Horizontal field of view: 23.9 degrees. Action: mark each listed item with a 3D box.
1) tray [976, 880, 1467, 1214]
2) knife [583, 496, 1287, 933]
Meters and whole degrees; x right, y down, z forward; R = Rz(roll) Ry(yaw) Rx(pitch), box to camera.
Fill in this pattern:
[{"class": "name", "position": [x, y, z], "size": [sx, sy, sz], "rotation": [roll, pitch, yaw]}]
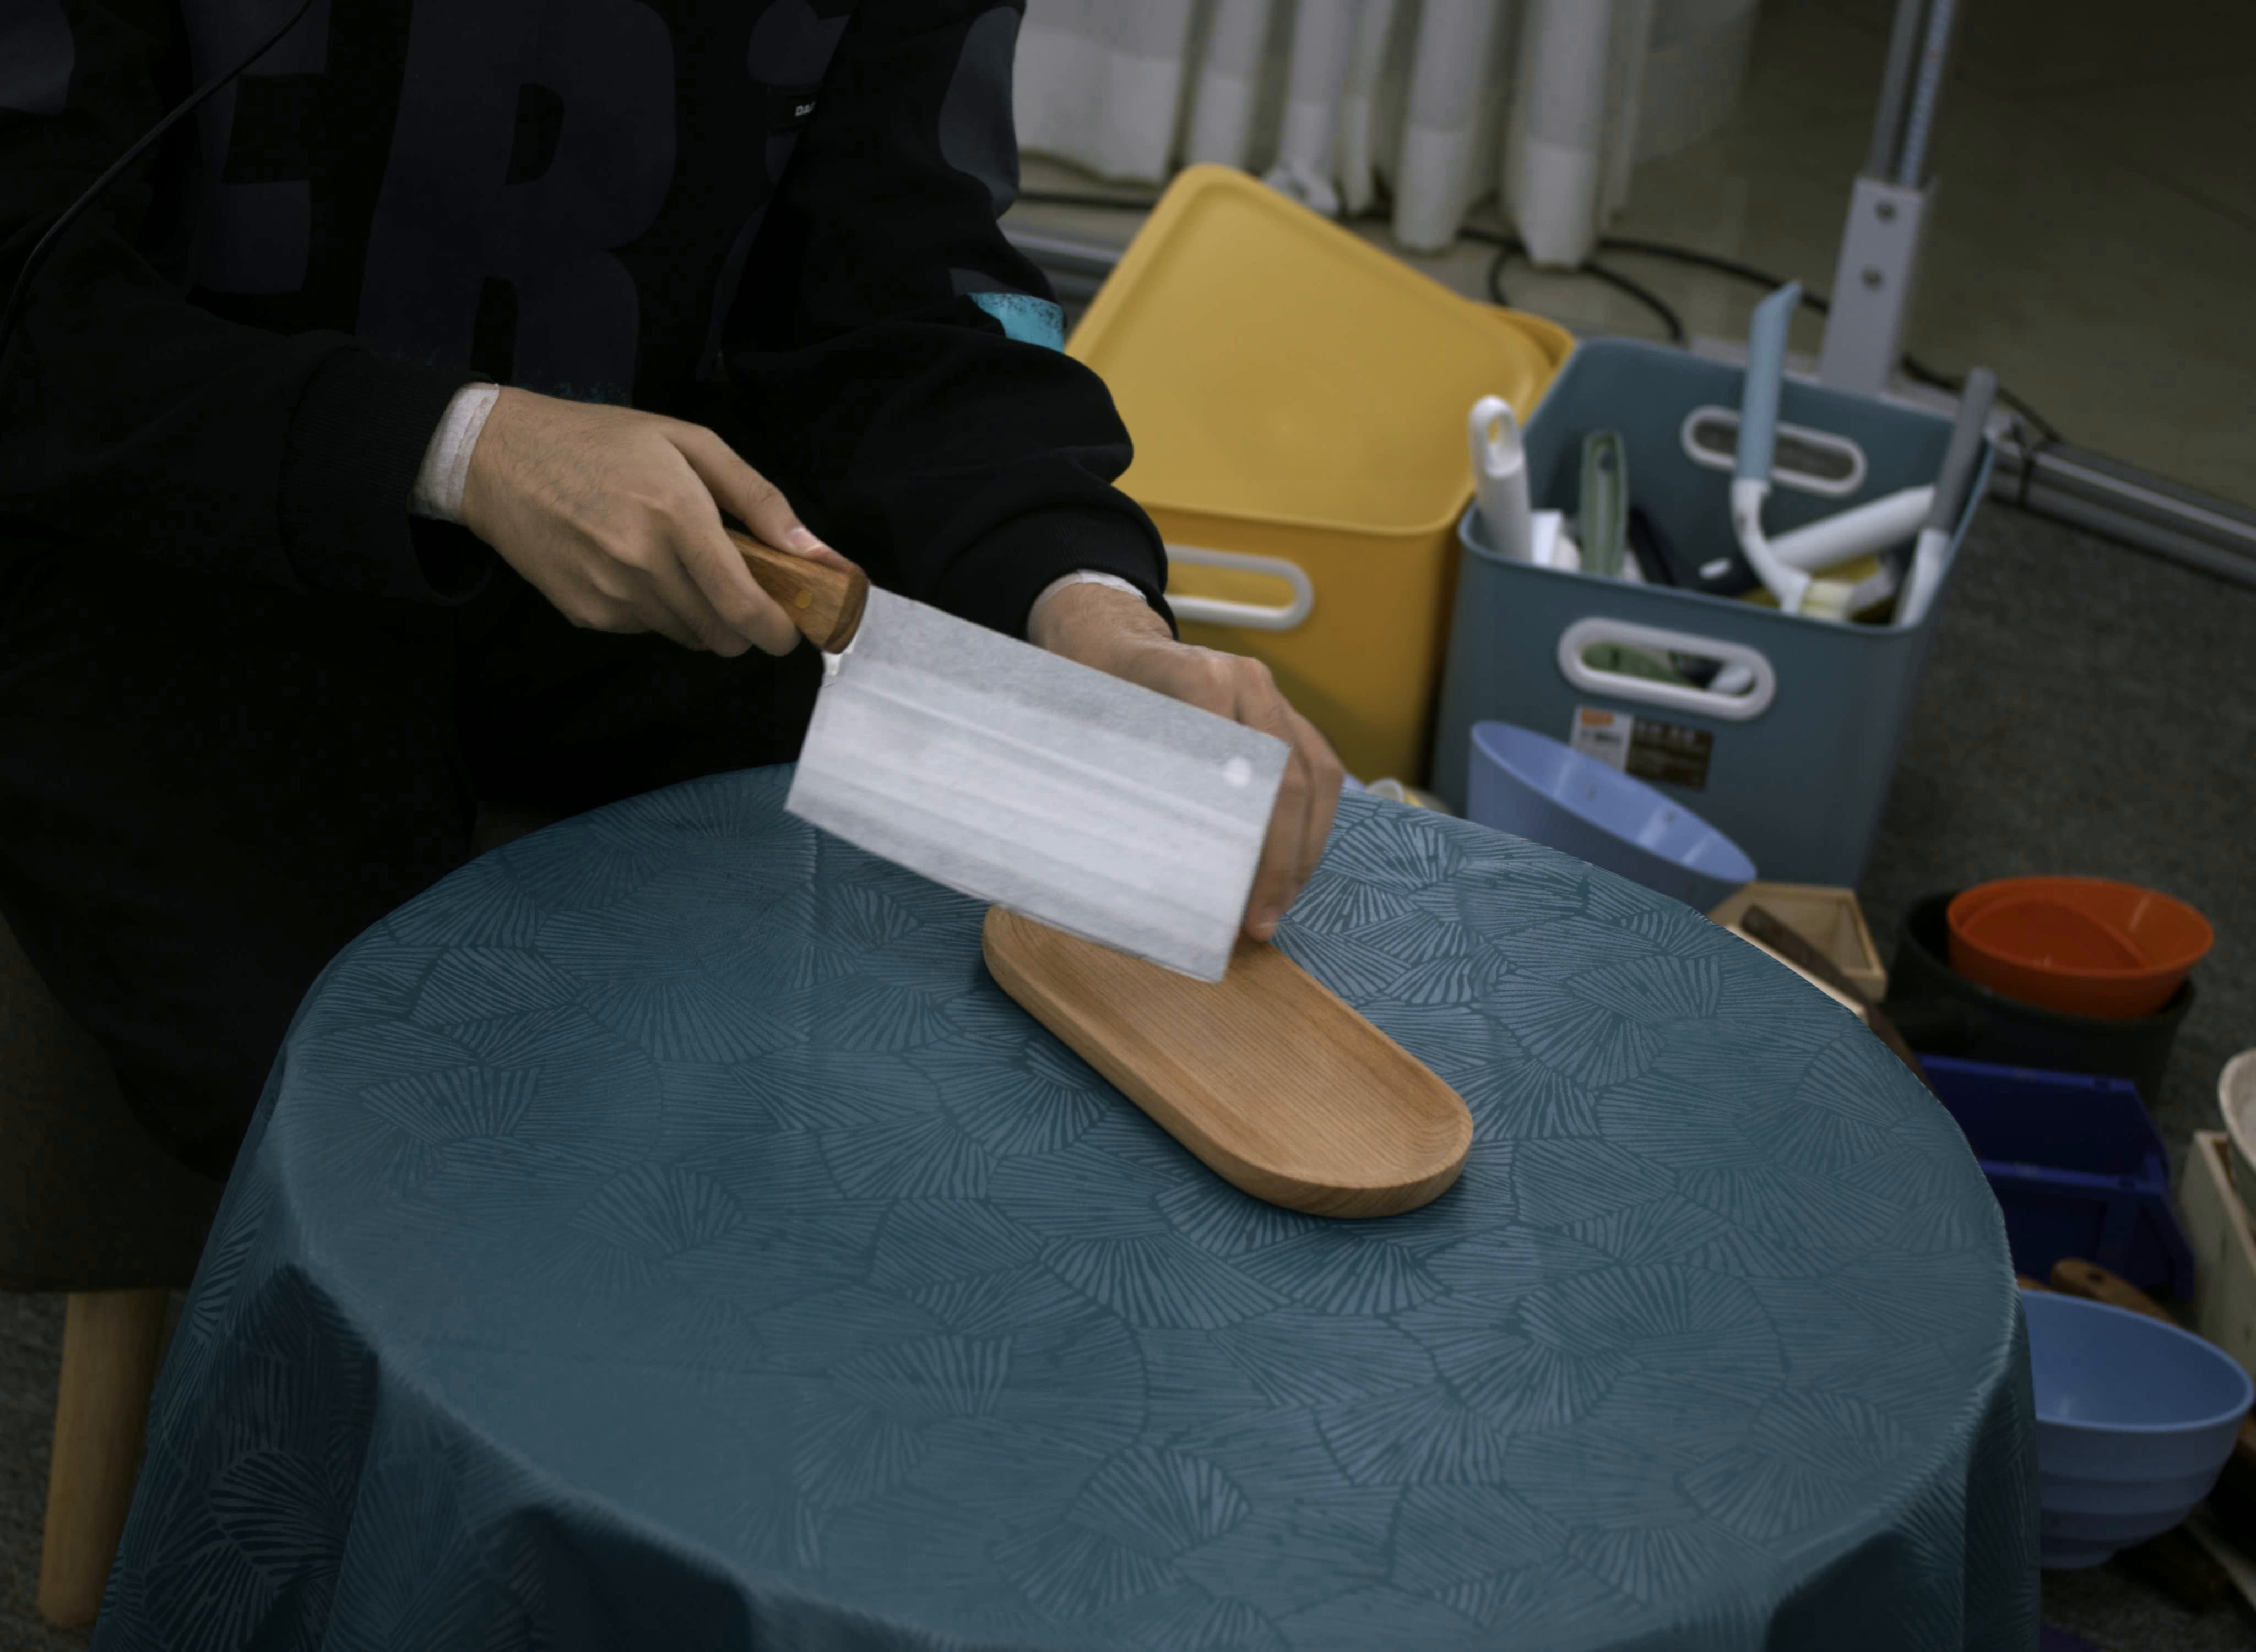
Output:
[{"class": "tray", "position": [0.031, 0.074, 1.887], "size": [0.101, 0.020, 0.233], "rotation": [-11, 31, -32]}, {"class": "knife", "position": [-0.079, -0.038, 1.912], "size": [0.307, 0.093, 0.021], "rotation": [21, 13, 28]}]
